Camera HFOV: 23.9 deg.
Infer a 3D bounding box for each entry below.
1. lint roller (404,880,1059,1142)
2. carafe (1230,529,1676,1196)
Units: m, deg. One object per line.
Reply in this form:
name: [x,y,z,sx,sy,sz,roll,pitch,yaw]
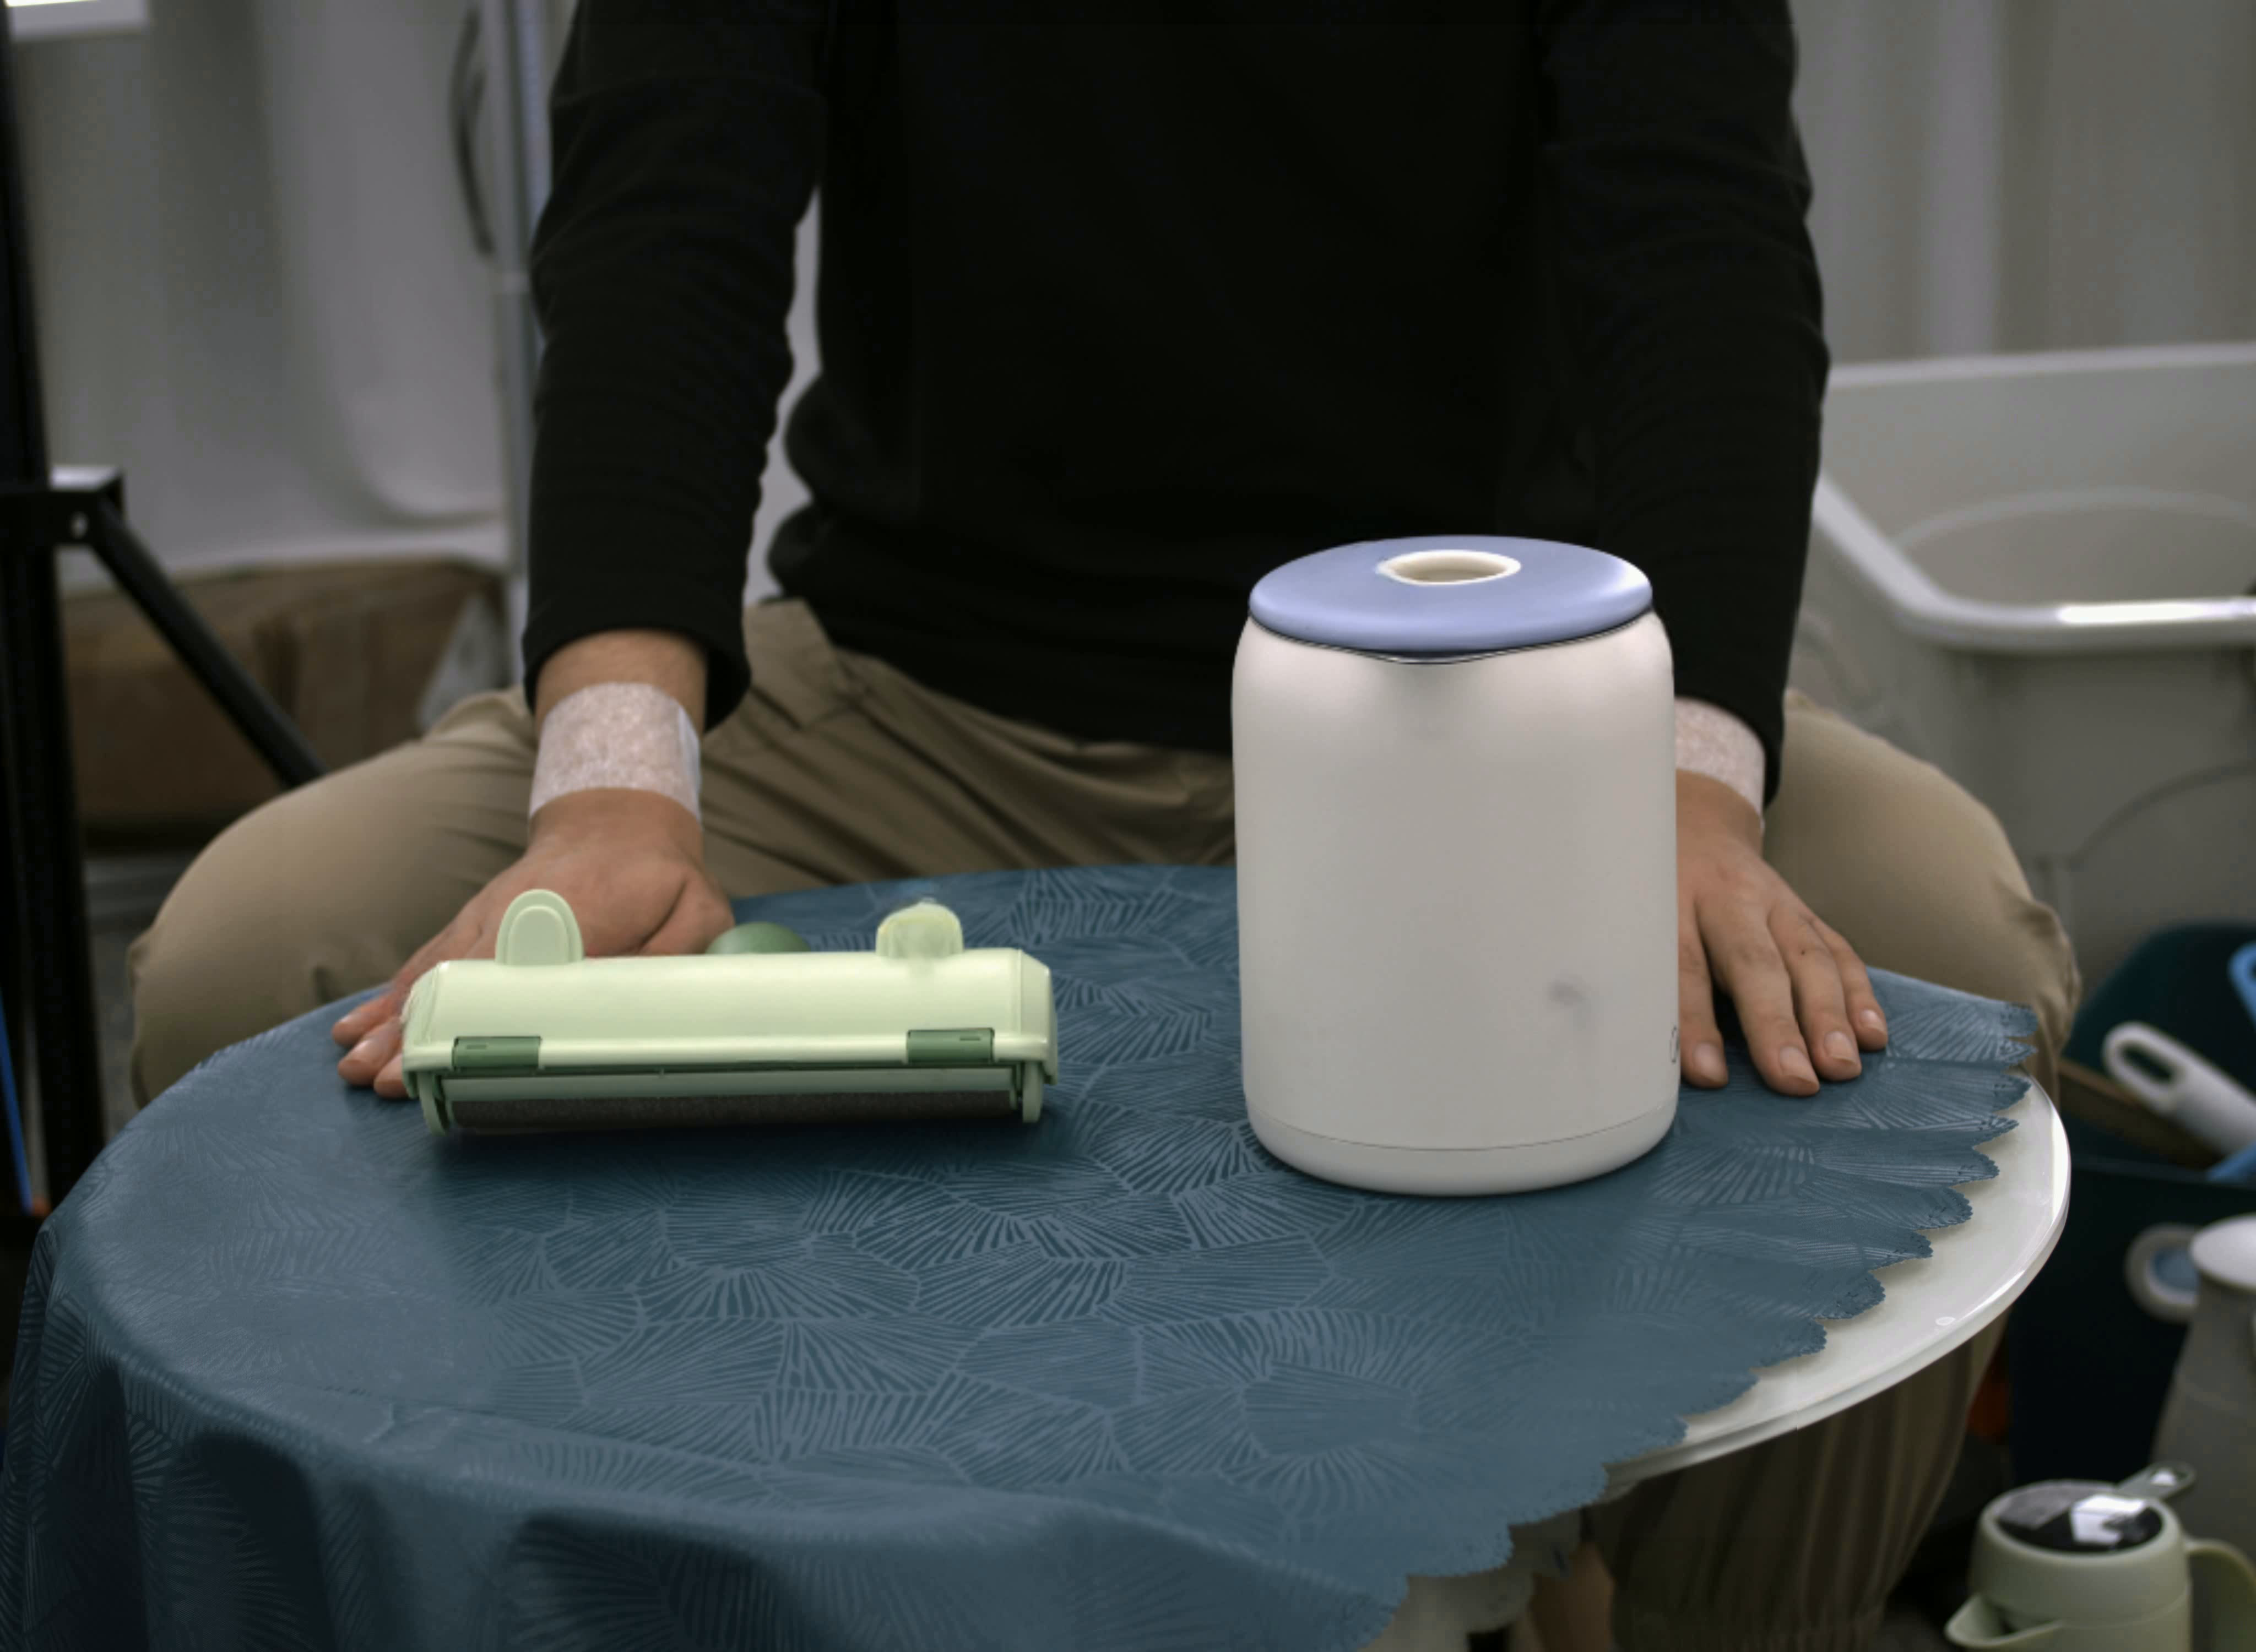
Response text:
lint roller: [-0.120,0.042,1.669,0.198,0.082,0.184,-1,18,2]
carafe: [0.100,0.004,1.594,0.132,0.182,0.190,1,13,8]
